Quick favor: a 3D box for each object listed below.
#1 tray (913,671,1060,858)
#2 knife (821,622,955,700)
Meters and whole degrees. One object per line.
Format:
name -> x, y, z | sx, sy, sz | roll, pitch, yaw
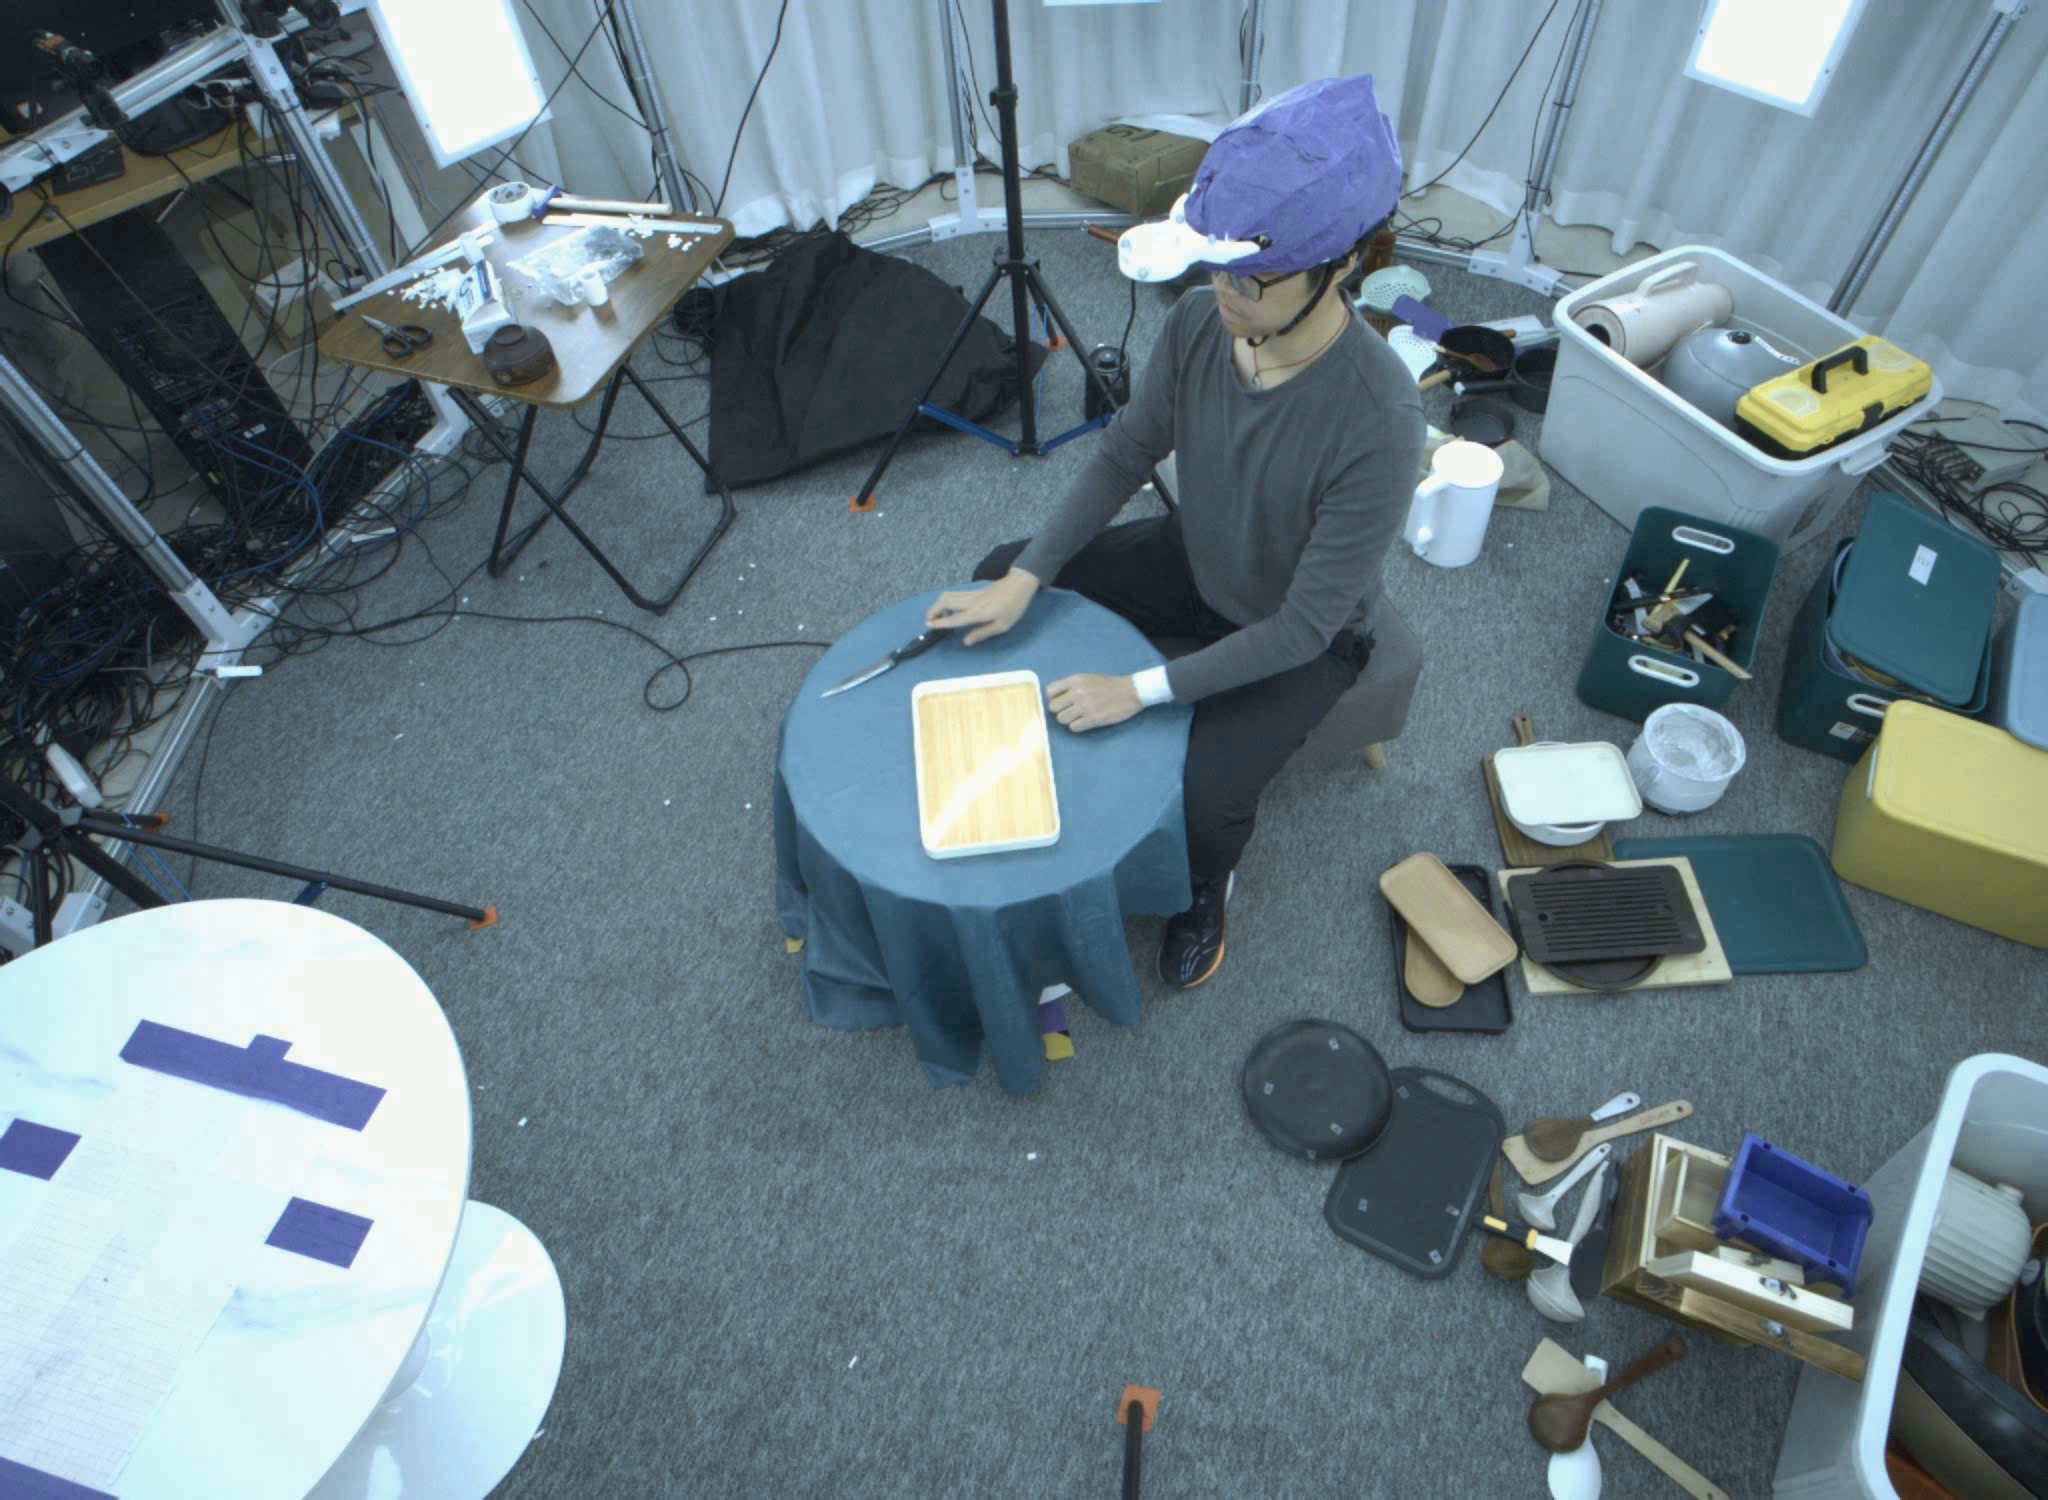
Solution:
tray -> -0.057, 0.015, 1.770 | 0.192, 0.027, 0.296 | -5, 55, -3
knife -> -0.212, -0.139, 1.892 | 0.240, 0.016, 0.024 | -31, 58, -16
